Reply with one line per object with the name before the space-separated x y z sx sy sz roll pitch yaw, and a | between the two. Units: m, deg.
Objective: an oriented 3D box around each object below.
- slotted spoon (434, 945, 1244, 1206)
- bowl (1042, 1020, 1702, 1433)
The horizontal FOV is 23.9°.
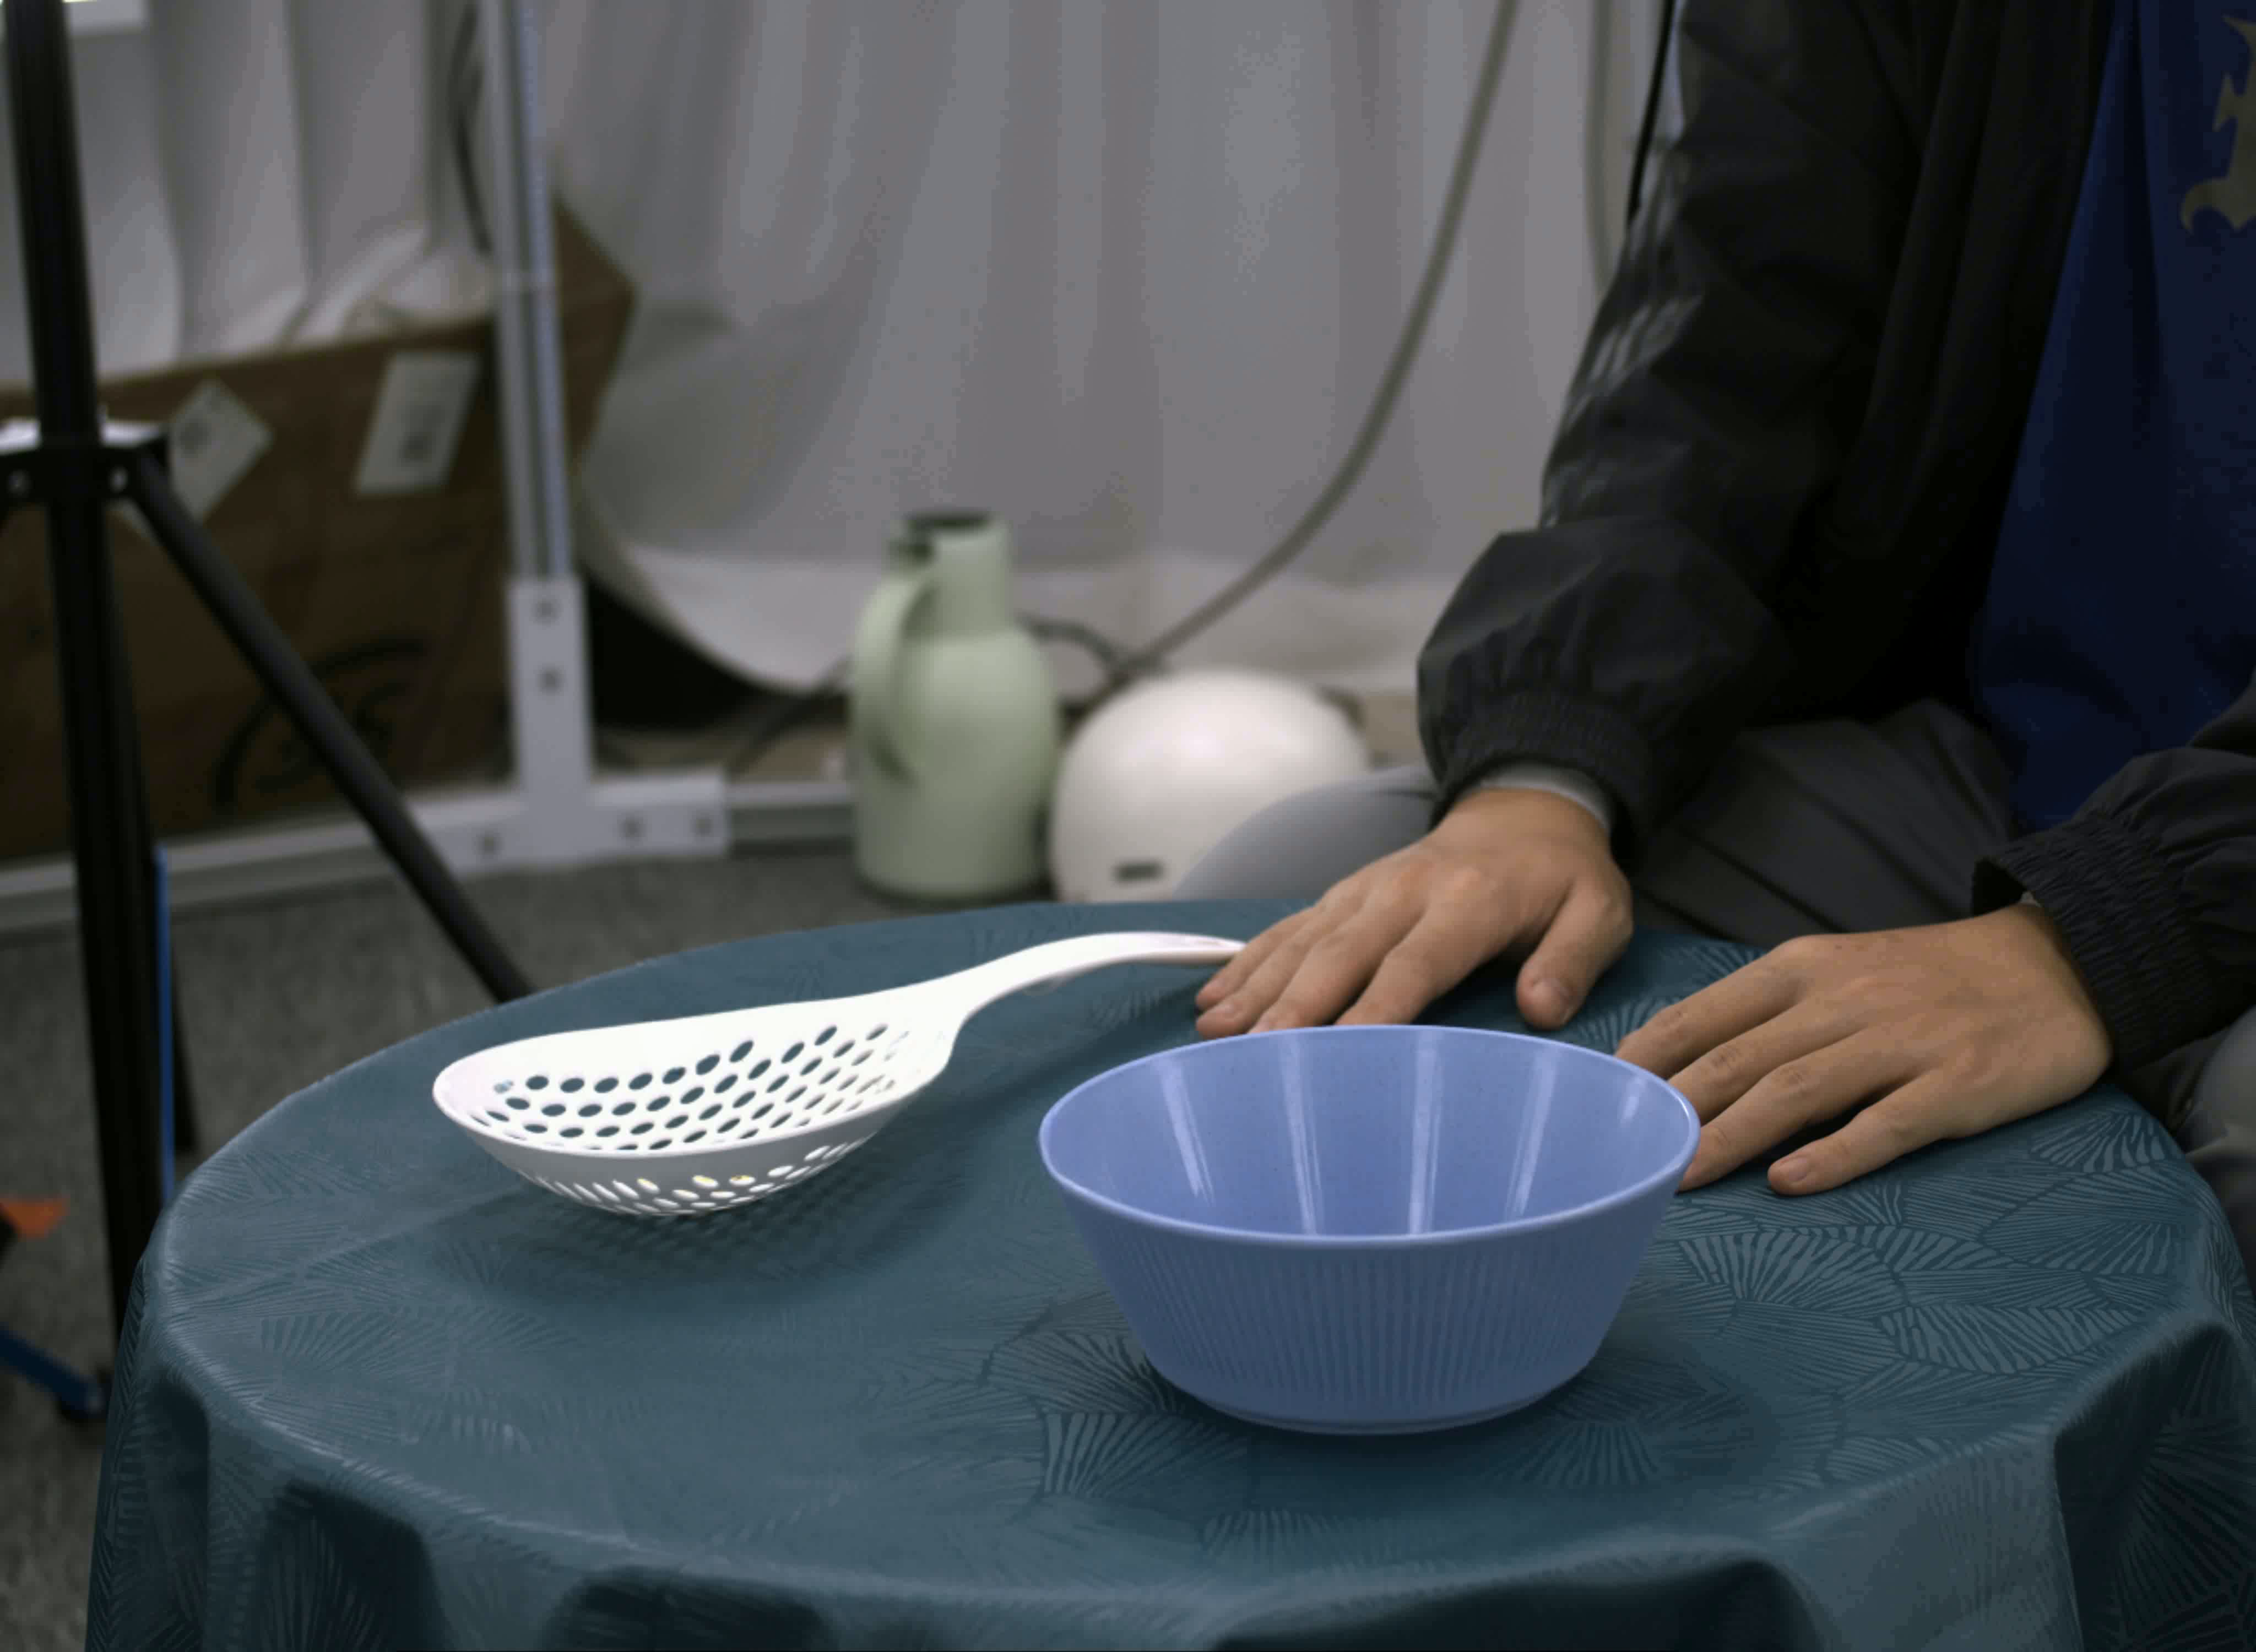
slotted spoon | -0.065 0.065 1.642 0.140 0.050 0.340 6 17 39
bowl | 0.065 0.110 1.412 0.175 0.070 0.177 -2 16 -1
